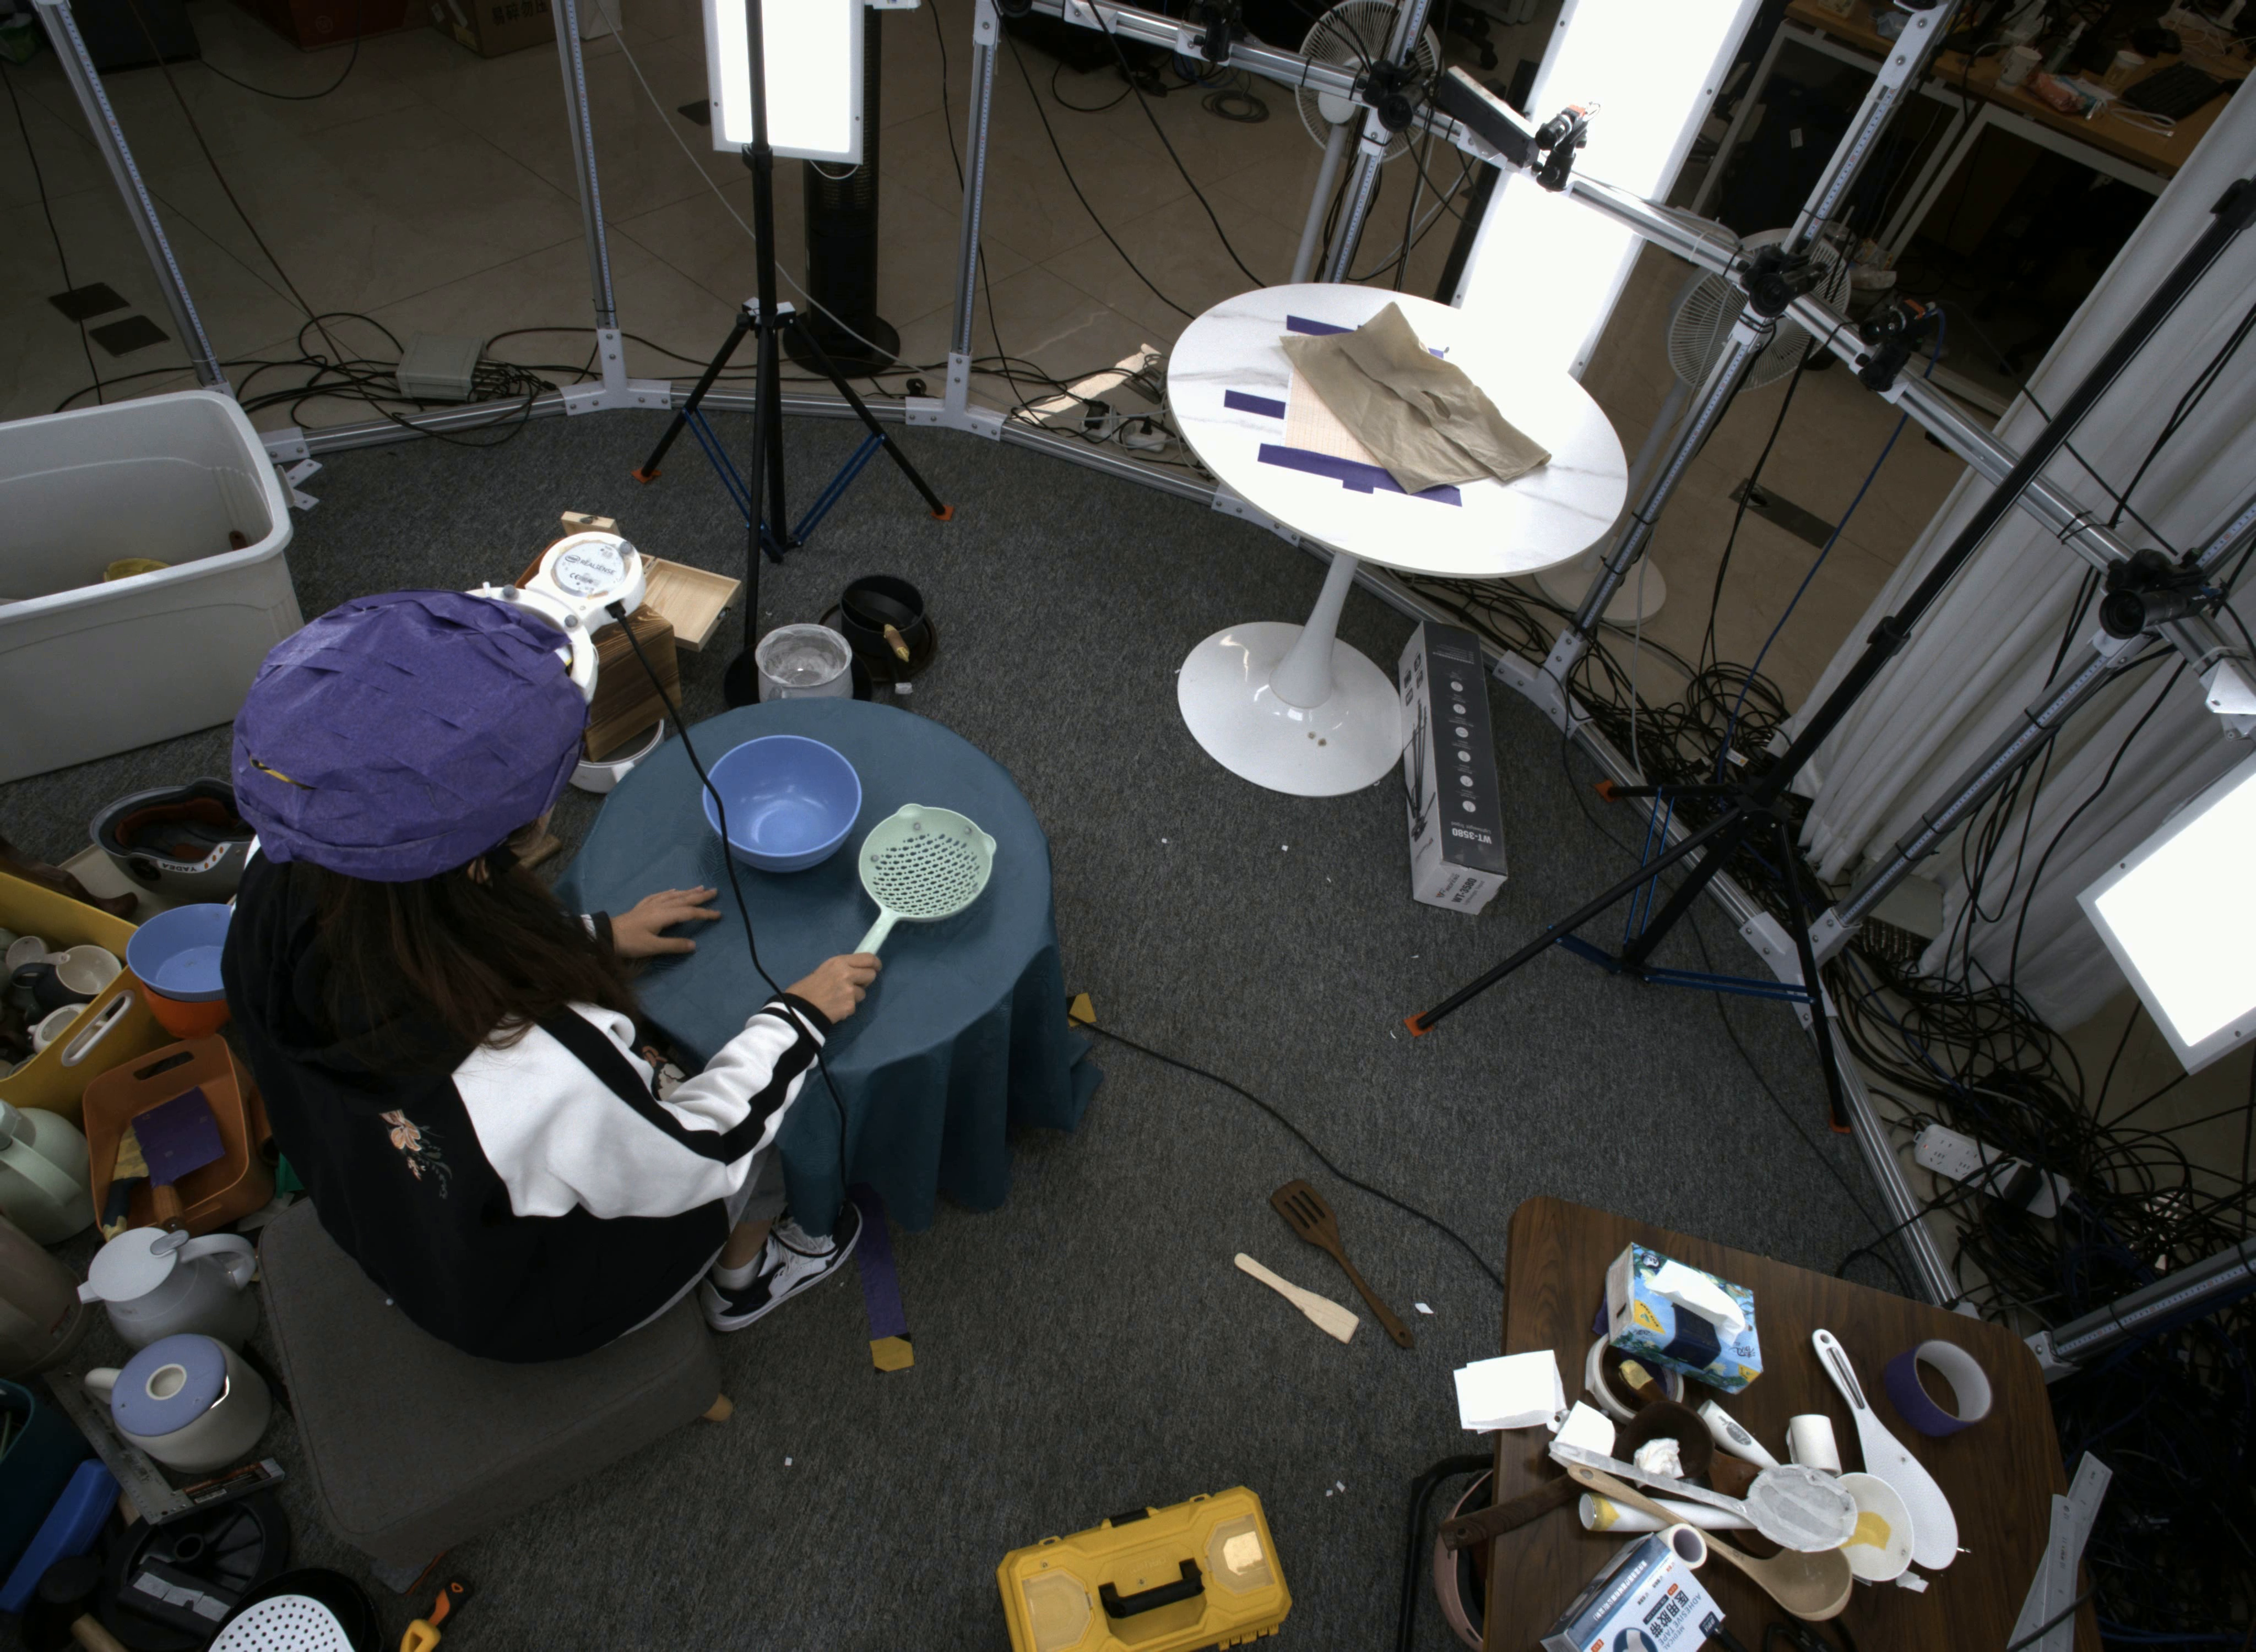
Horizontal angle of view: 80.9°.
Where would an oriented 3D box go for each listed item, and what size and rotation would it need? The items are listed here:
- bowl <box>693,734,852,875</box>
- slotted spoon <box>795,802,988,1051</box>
[{"bbox_3d":[-0.453,-0.013,1.659,0.196,0.097,0.193,8,52,-9],"label":"bowl"},{"bbox_3d":[-0.309,0.122,1.614,0.166,0.077,0.356,25,49,8],"label":"slotted spoon"}]
